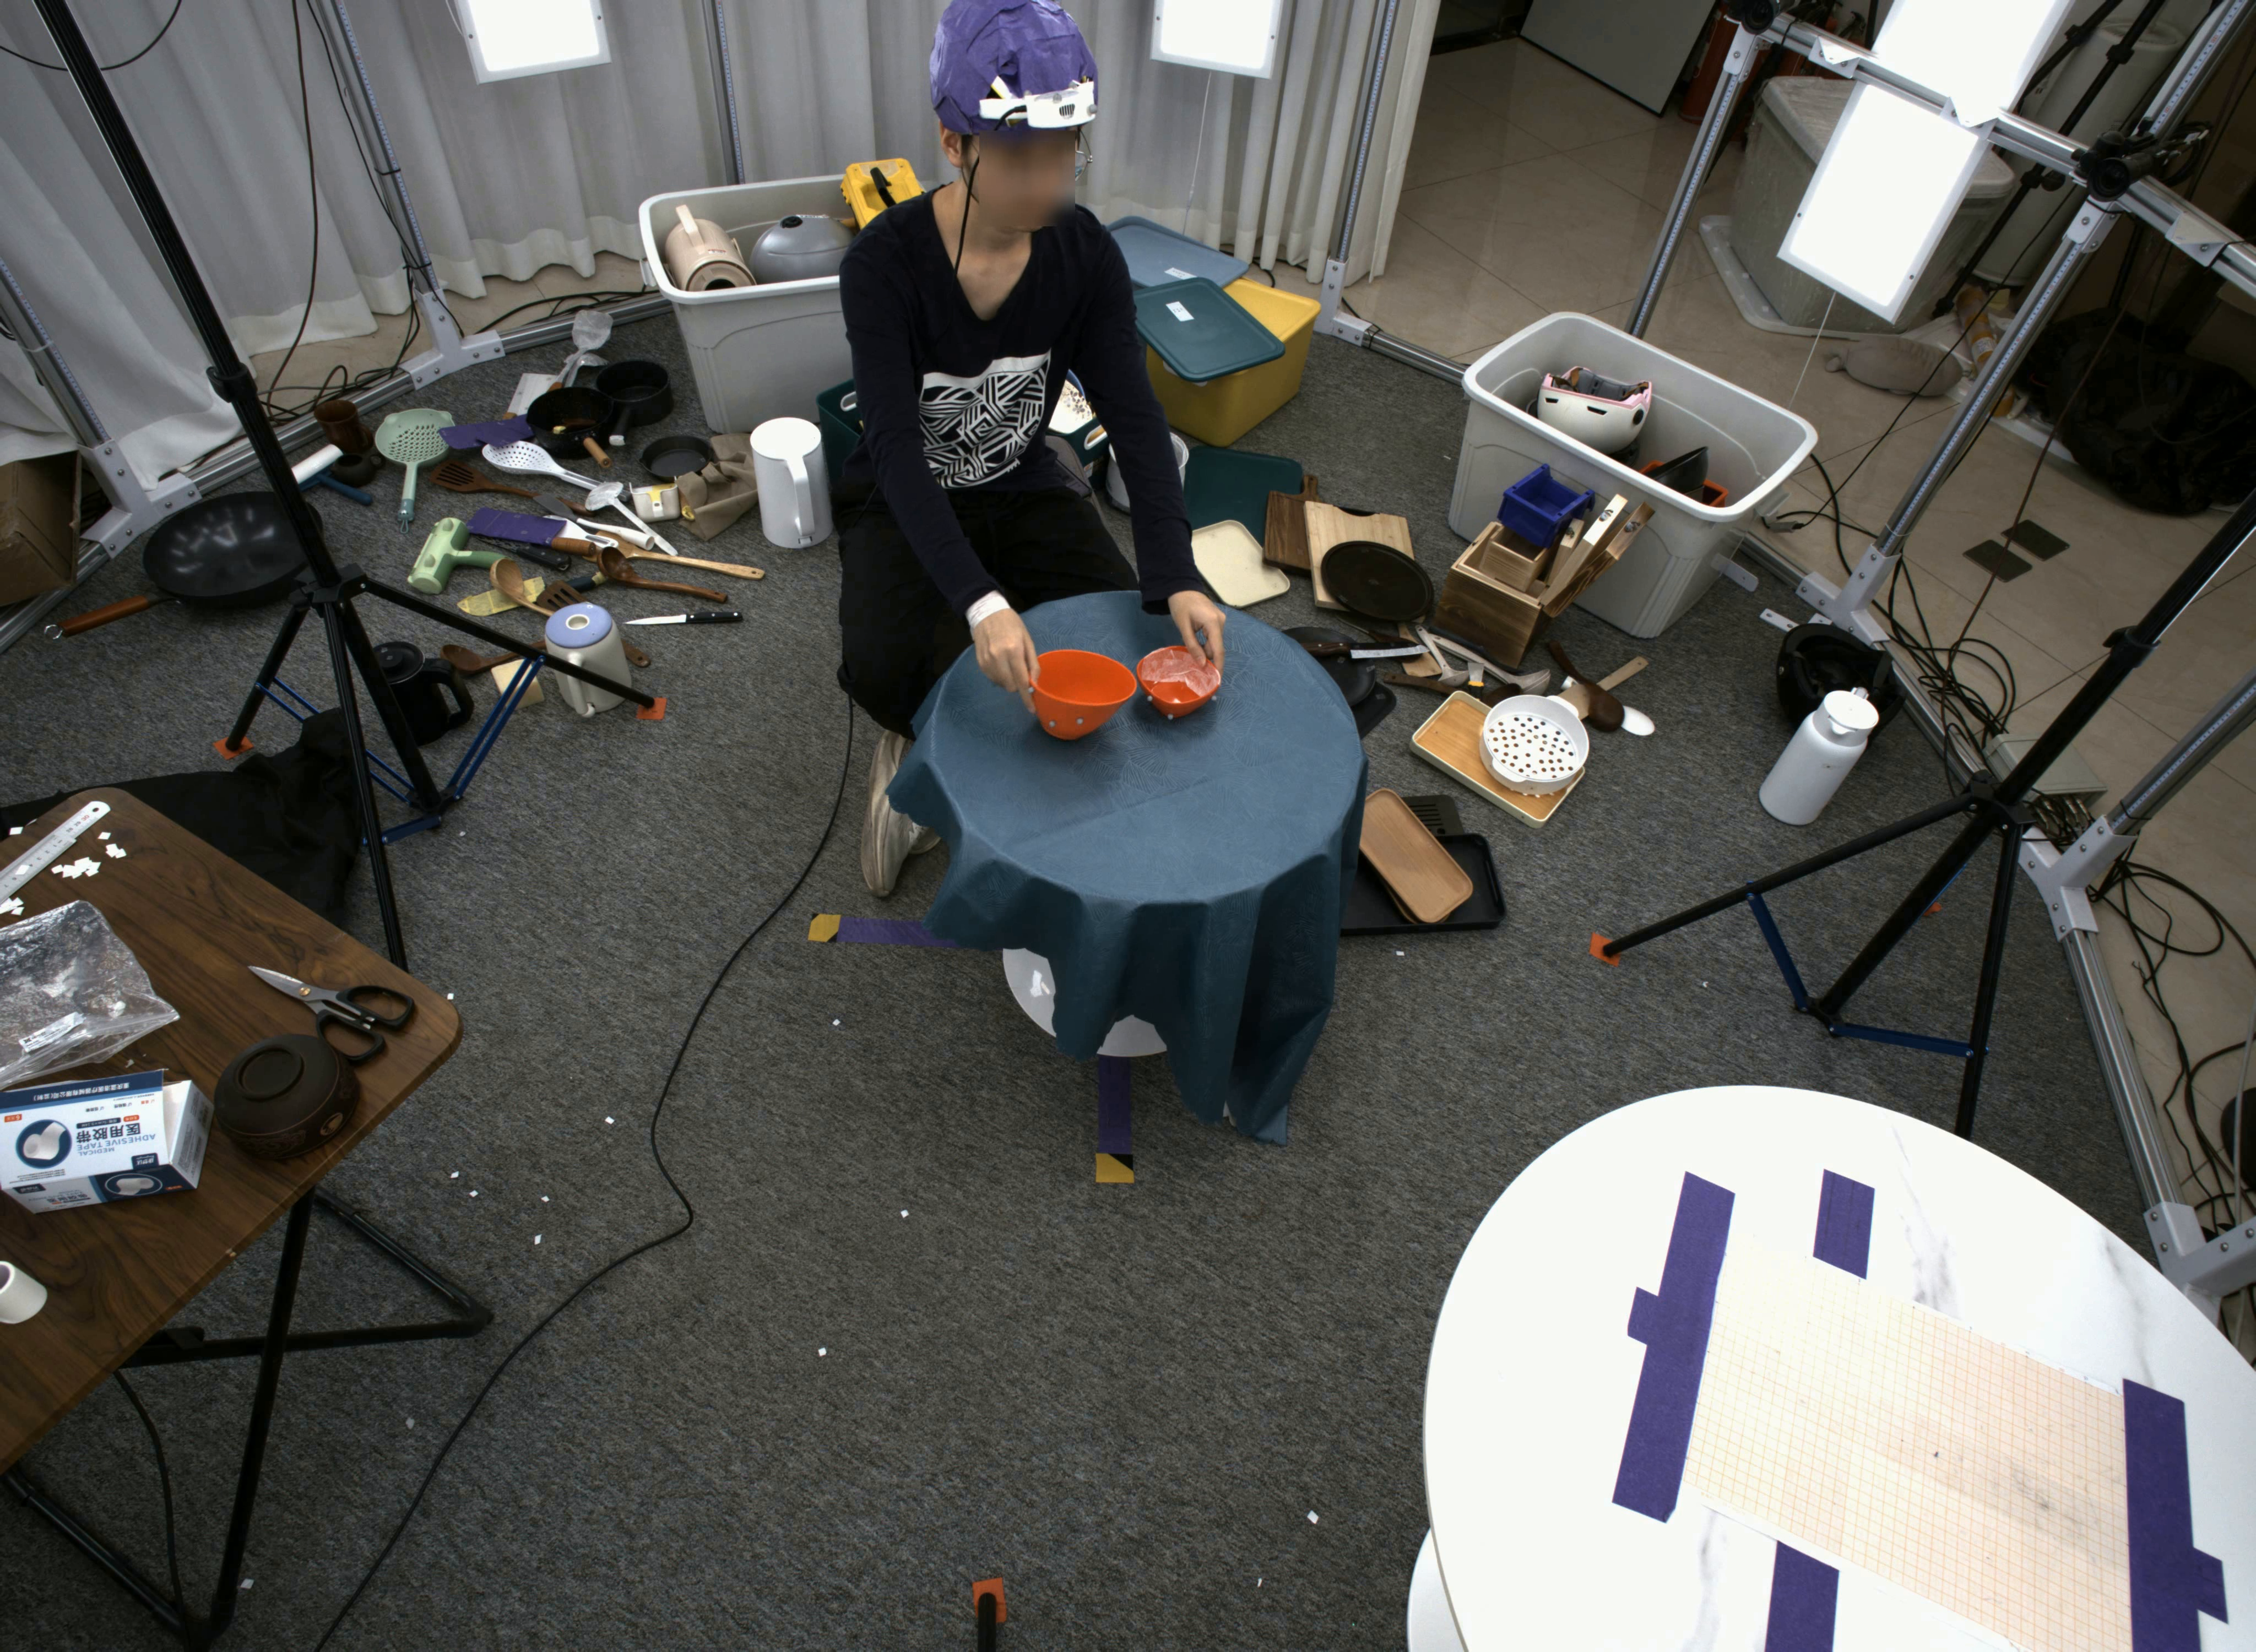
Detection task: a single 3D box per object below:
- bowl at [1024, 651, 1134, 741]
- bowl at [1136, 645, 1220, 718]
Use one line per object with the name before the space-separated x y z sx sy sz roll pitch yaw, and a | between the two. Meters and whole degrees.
bowl | -0.074 -0.167 1.736 0.147 0.102 0.152 8 42 -8
bowl | 0.069 -0.198 1.812 0.119 0.050 0.122 1 49 -1
